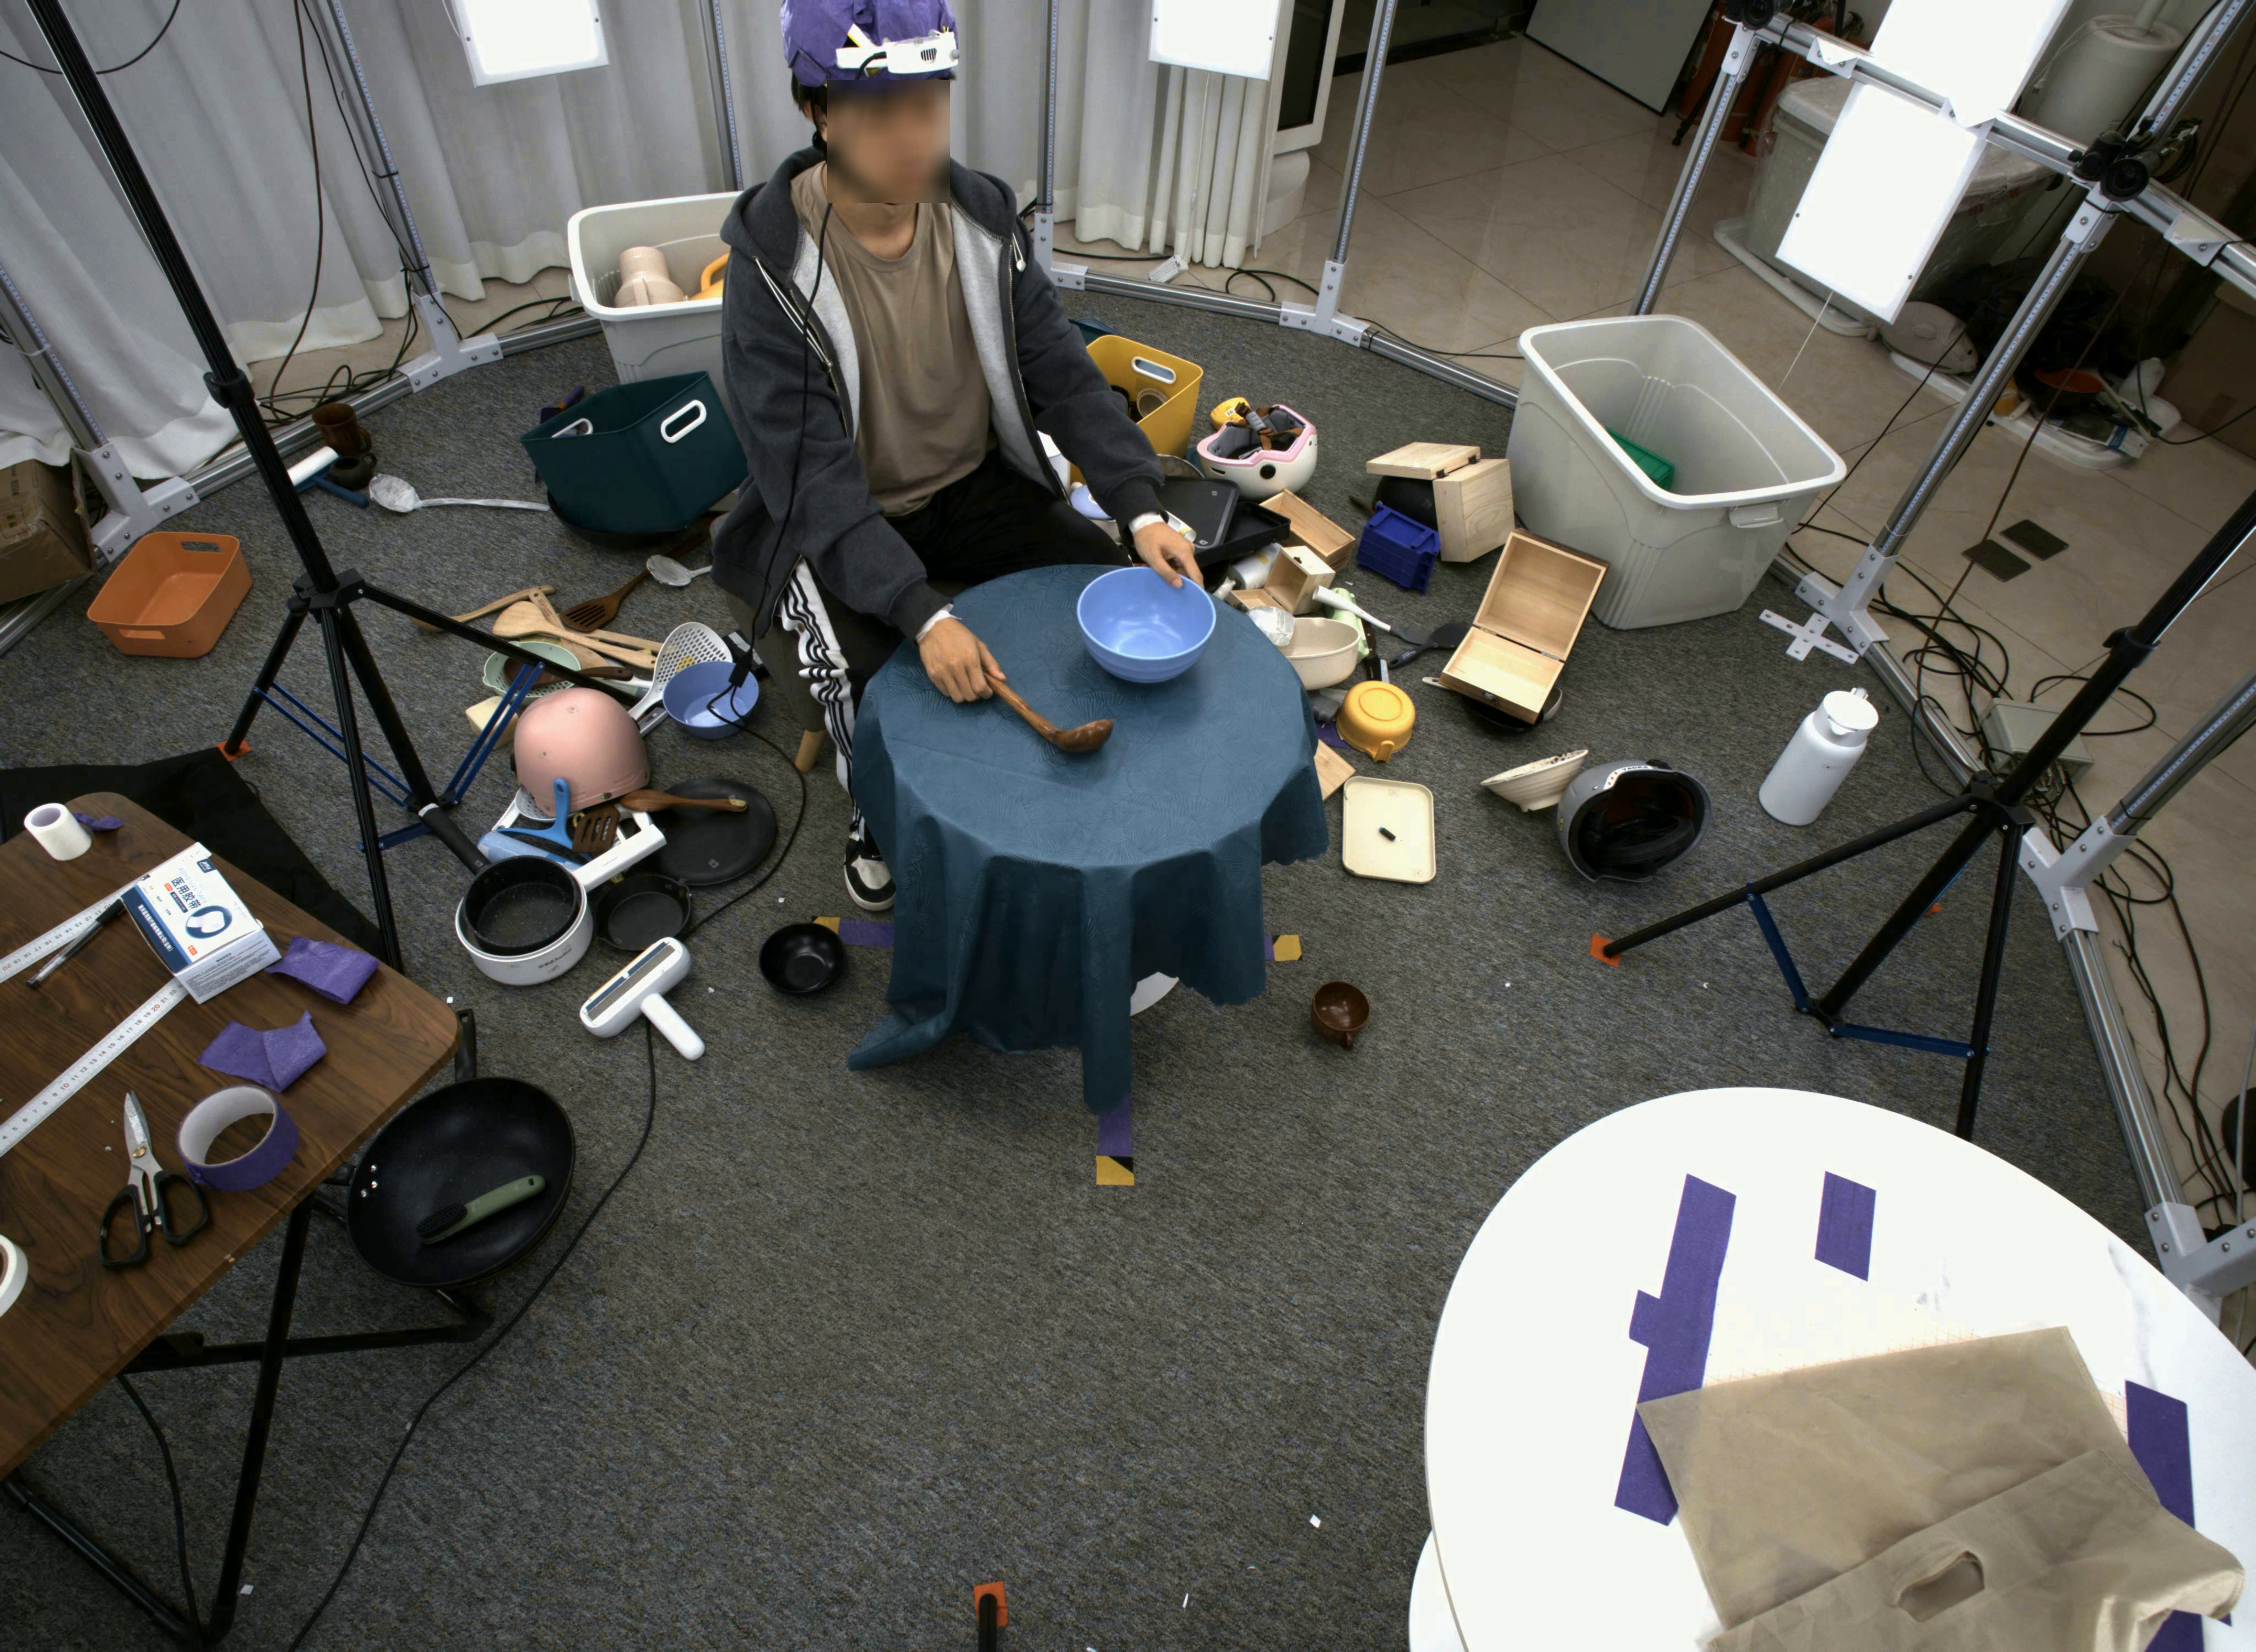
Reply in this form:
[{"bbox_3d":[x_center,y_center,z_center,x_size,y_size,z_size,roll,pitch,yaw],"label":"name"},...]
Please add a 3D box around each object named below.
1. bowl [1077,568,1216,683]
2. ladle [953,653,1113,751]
[{"bbox_3d":[0.024,-0.272,1.845,0.196,0.093,0.201,1,49,-2],"label":"bowl"},{"bbox_3d":[-0.135,-0.188,1.768,0.278,0.076,0.081,40,22,25],"label":"ladle"}]
